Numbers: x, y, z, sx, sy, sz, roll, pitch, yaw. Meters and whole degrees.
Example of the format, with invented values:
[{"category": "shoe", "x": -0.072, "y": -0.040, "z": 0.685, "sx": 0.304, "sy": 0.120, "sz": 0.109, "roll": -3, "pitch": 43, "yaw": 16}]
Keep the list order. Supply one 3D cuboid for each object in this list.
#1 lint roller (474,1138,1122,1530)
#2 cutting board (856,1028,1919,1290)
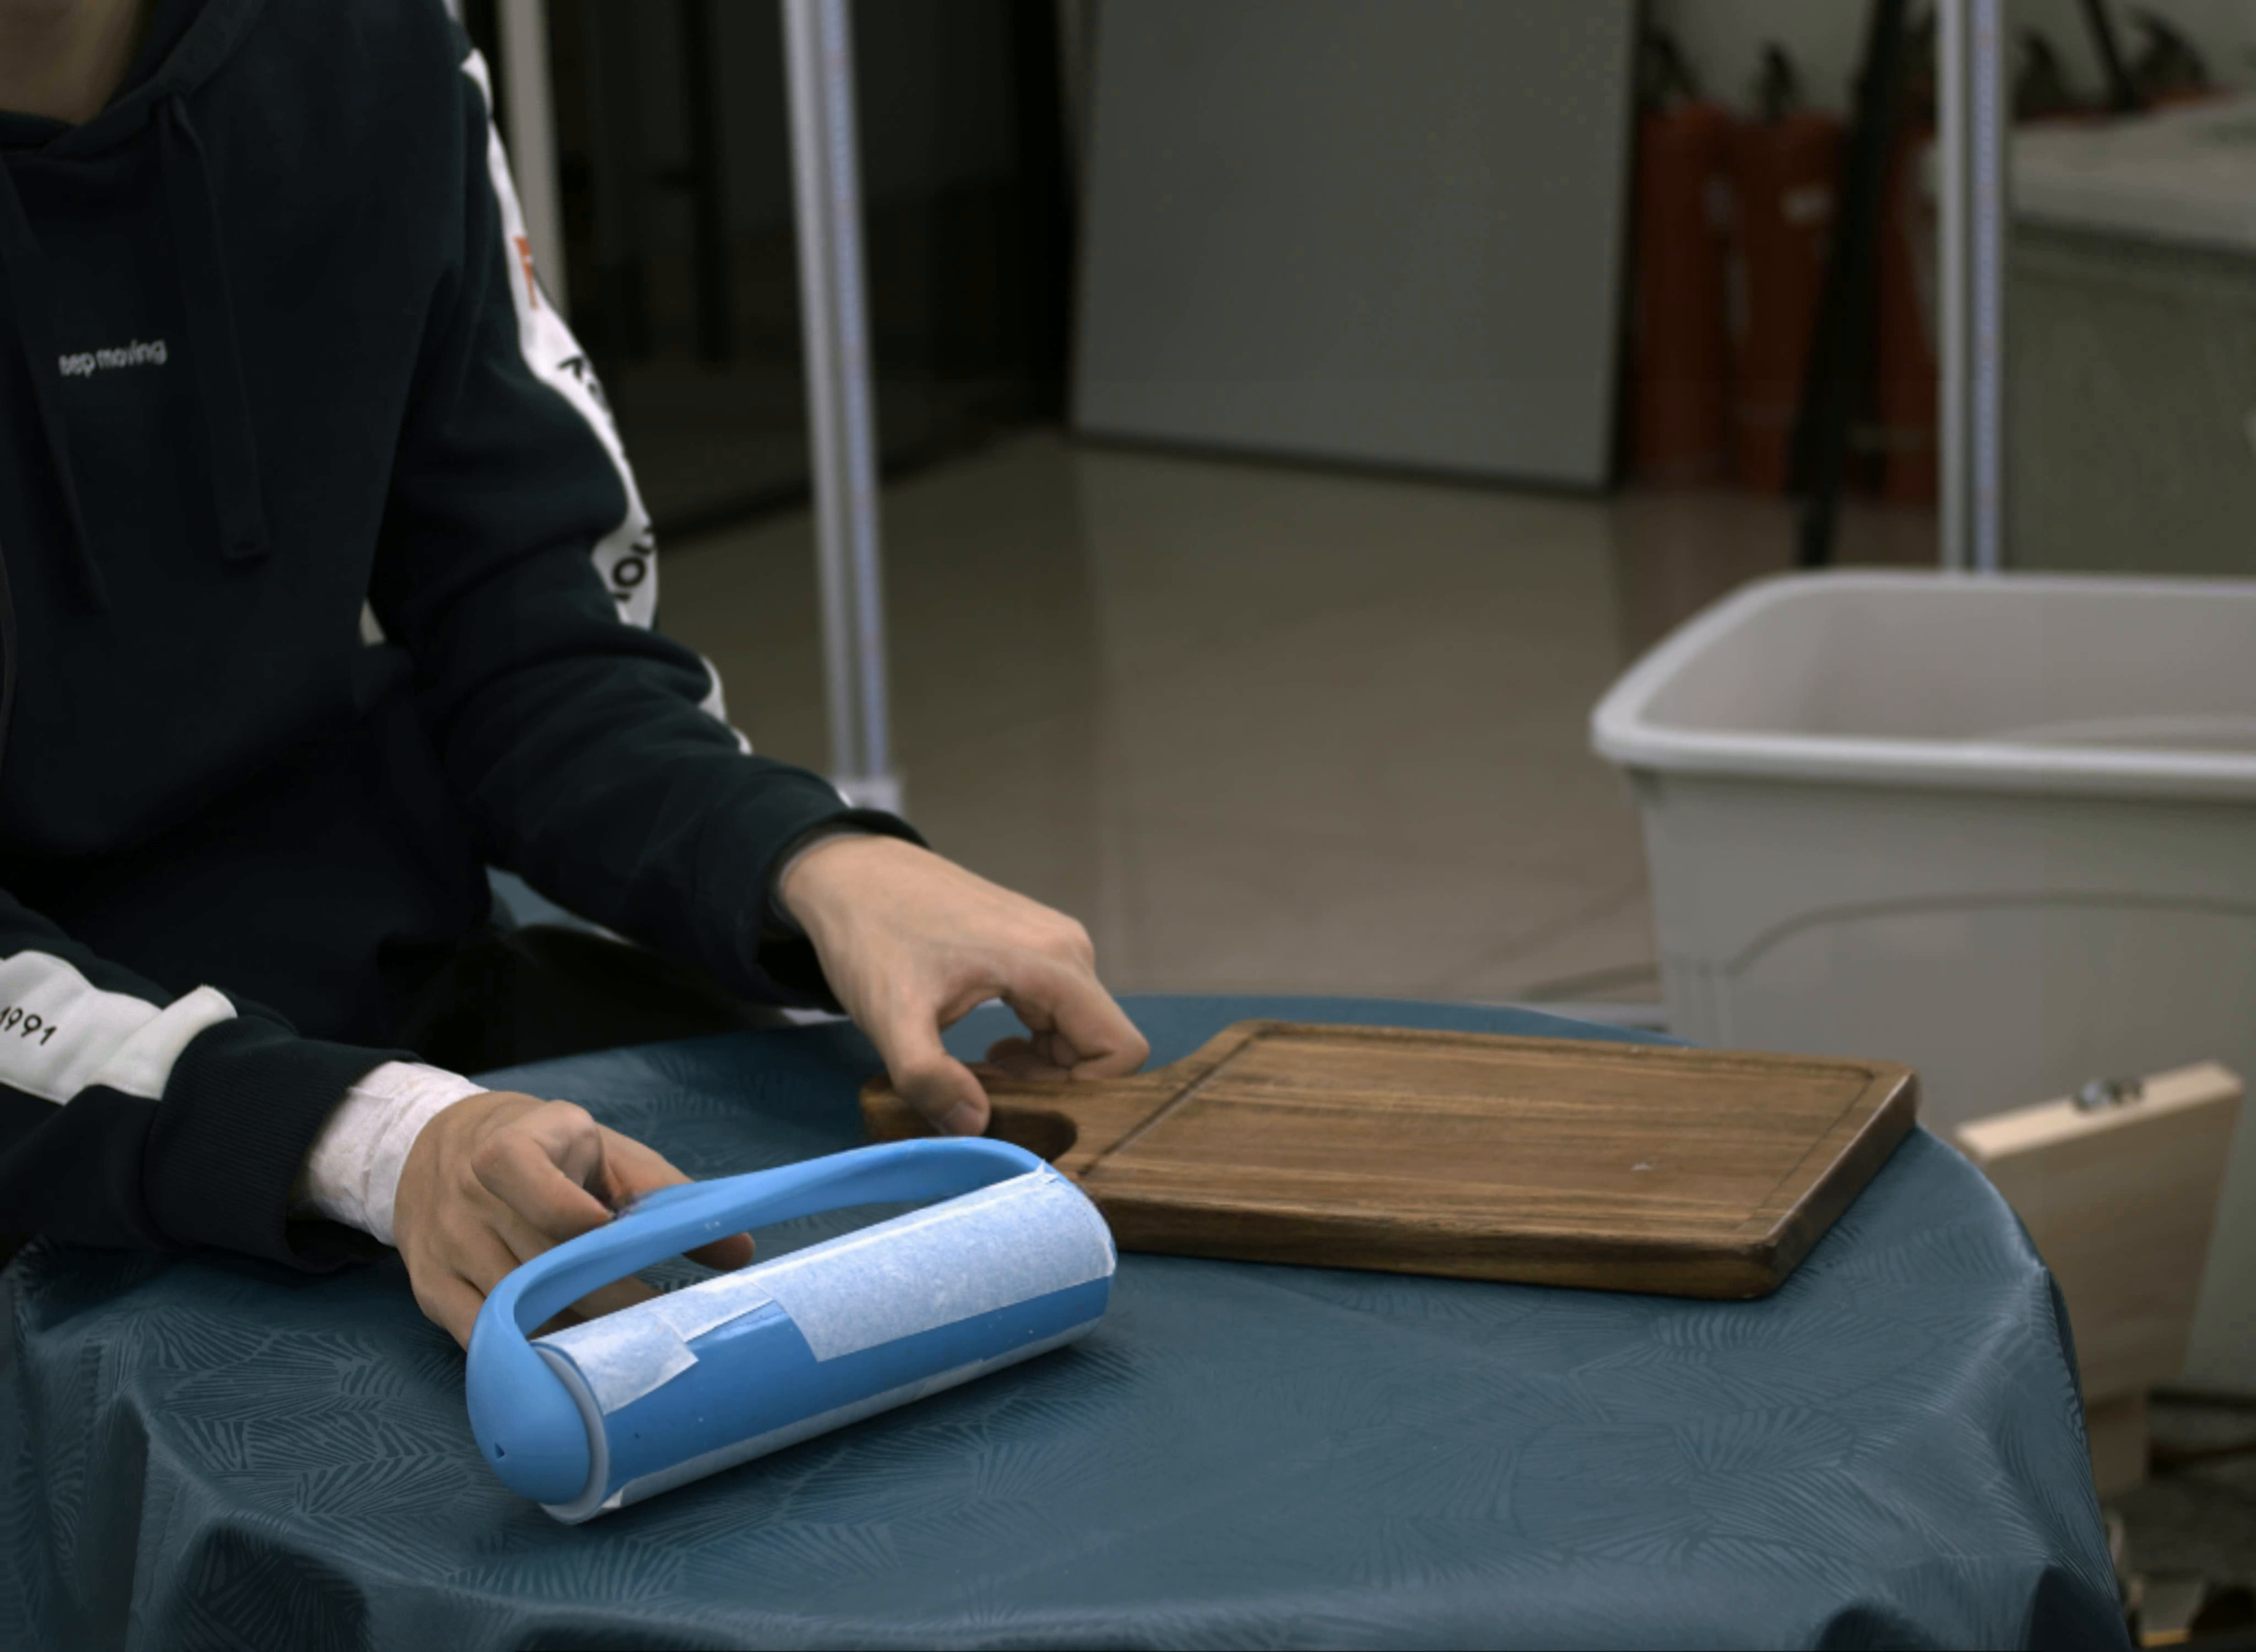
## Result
[{"category": "lint roller", "x": -0.131, "y": 0.140, "z": 1.611, "sx": 0.224, "sy": 0.068, "sz": 0.182, "roll": -19, "pitch": 21, "yaw": -41}, {"category": "cutting board", "x": 0.072, "y": 0.104, "z": 1.774, "sx": 0.352, "sy": 0.023, "sz": 0.199, "roll": 2, "pitch": 14, "yaw": 23}]
